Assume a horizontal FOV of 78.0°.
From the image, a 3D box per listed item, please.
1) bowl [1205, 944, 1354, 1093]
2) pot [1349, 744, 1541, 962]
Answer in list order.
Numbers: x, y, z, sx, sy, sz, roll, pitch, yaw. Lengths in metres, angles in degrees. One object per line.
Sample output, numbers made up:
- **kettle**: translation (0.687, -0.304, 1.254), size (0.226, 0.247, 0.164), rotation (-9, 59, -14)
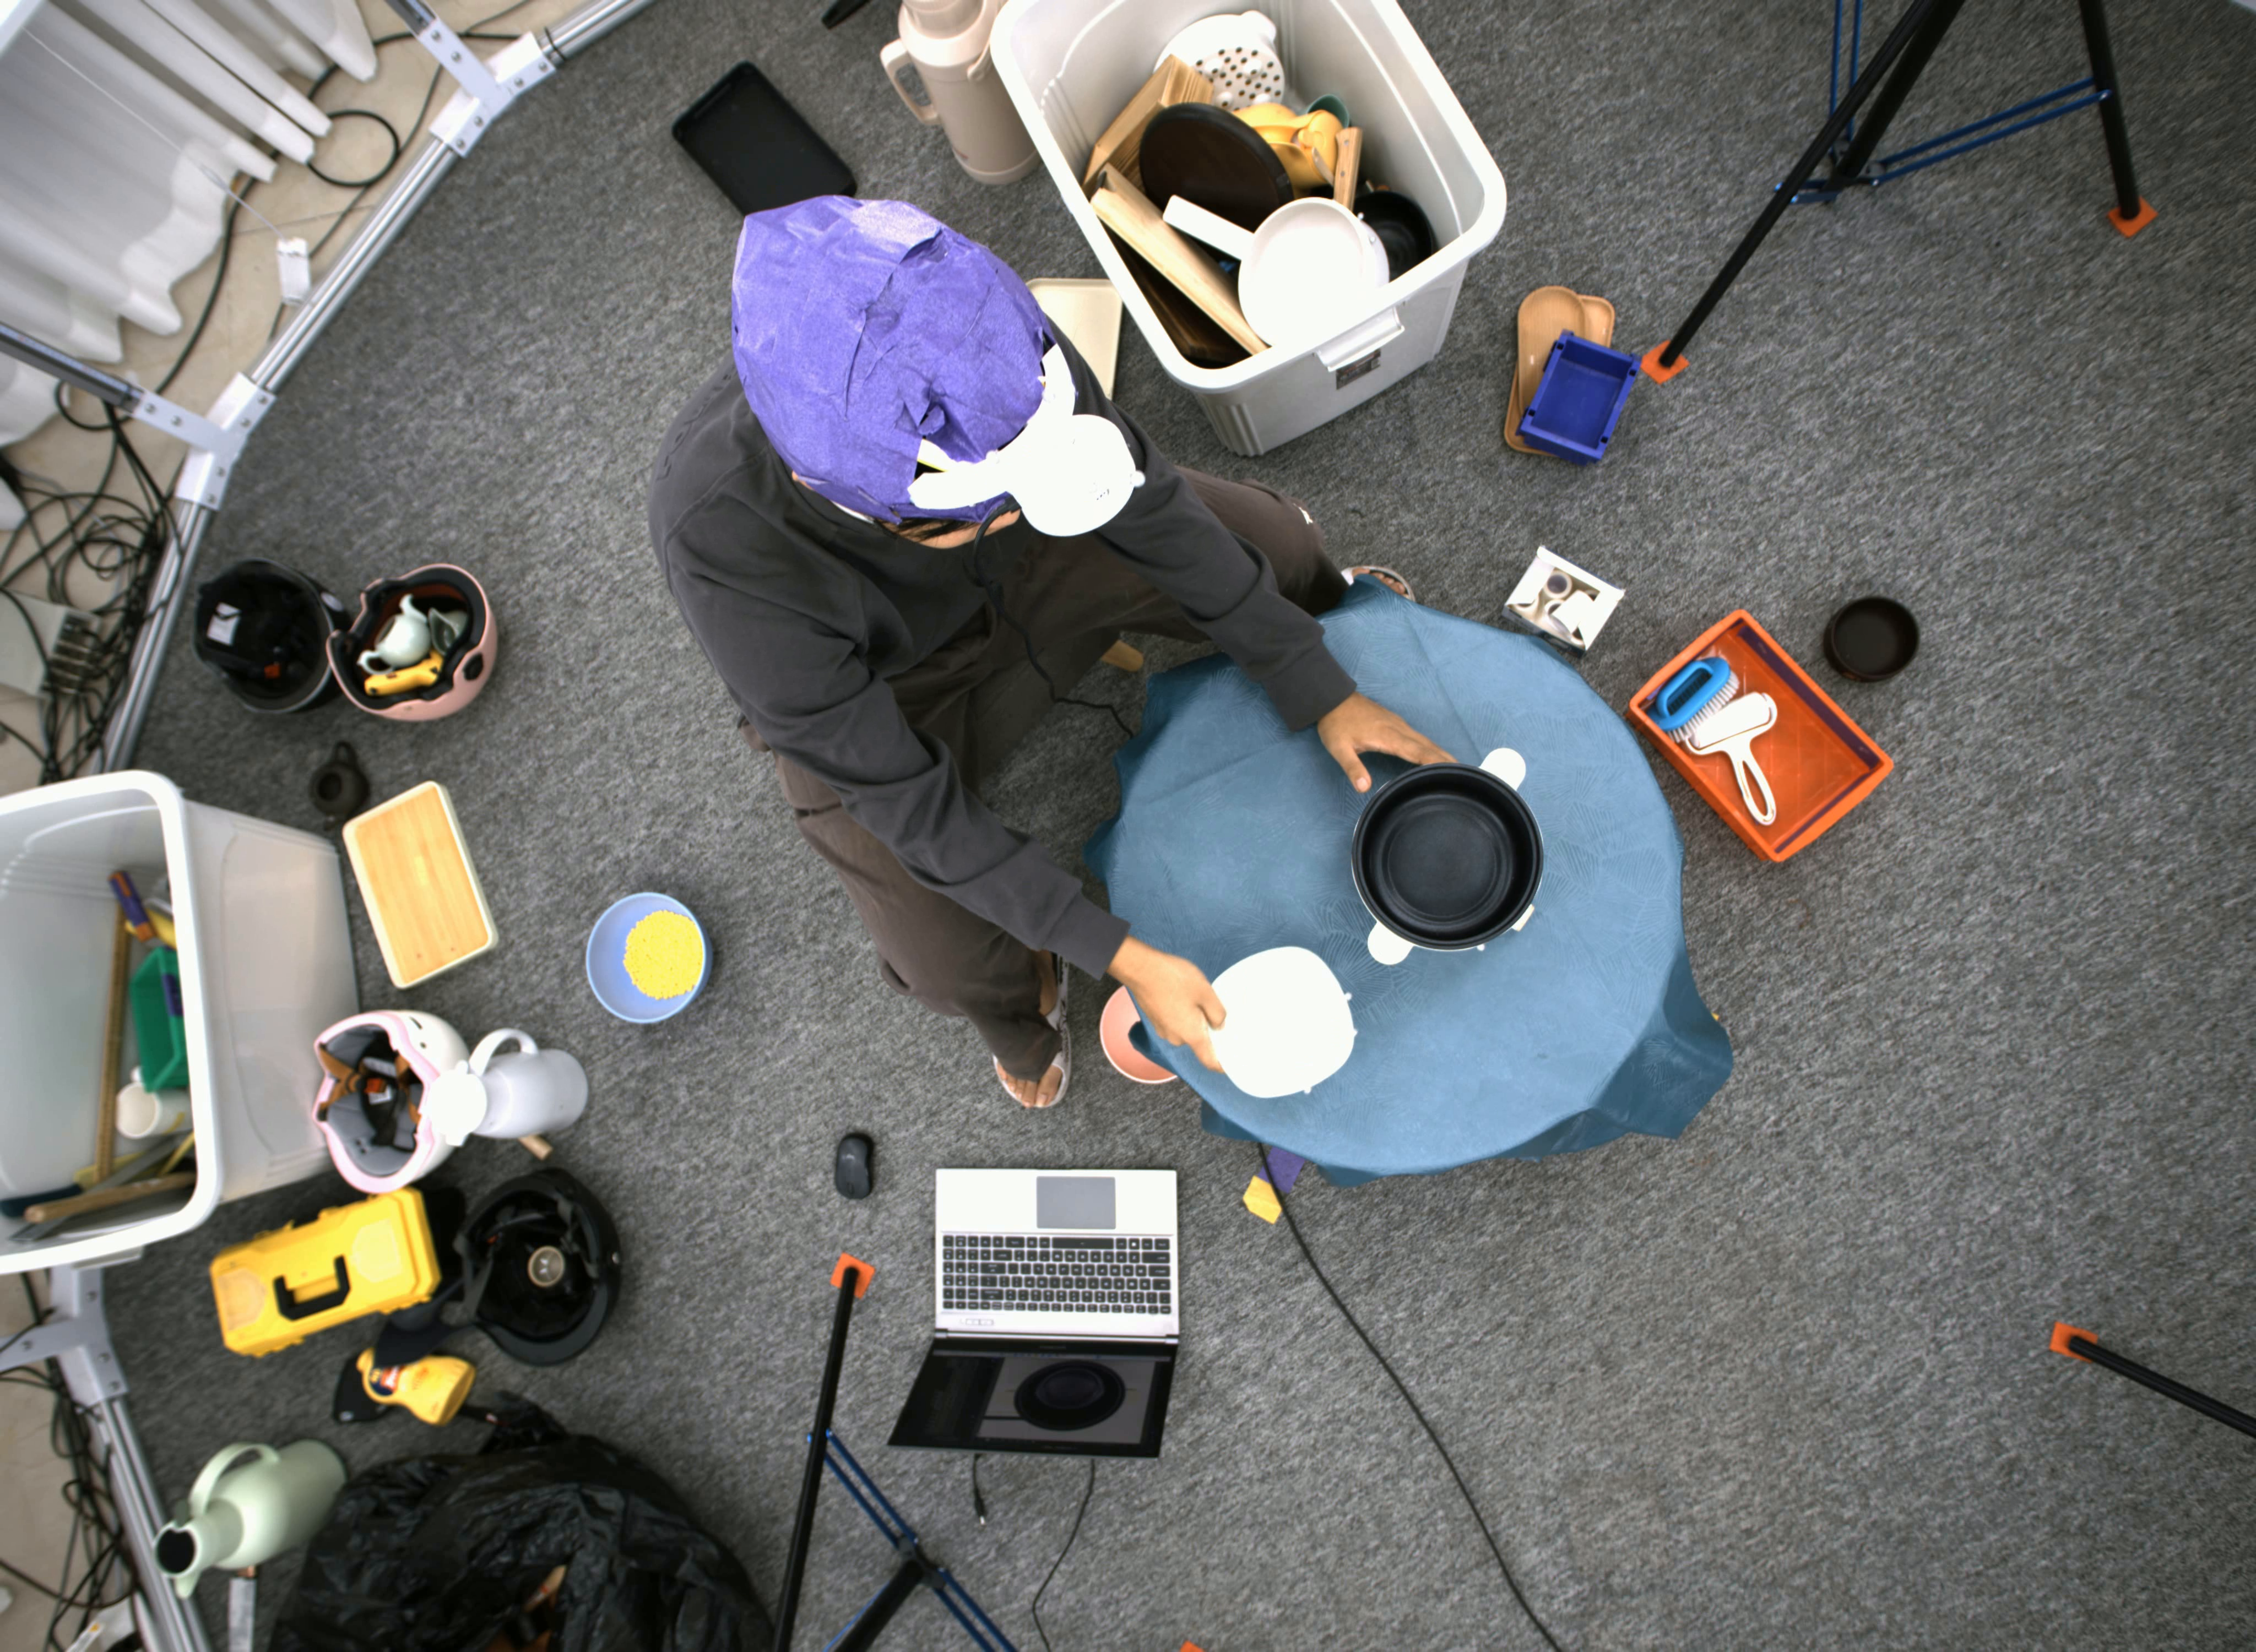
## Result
- **bowl**: translation (0.153, 0.190, 1.386), size (0.152, 0.058, 0.151), rotation (-1, 88, 12)
- **pot**: translation (0.321, 0.033, 1.382), size (0.190, 0.142, 0.241), rotation (32, 94, 14)
